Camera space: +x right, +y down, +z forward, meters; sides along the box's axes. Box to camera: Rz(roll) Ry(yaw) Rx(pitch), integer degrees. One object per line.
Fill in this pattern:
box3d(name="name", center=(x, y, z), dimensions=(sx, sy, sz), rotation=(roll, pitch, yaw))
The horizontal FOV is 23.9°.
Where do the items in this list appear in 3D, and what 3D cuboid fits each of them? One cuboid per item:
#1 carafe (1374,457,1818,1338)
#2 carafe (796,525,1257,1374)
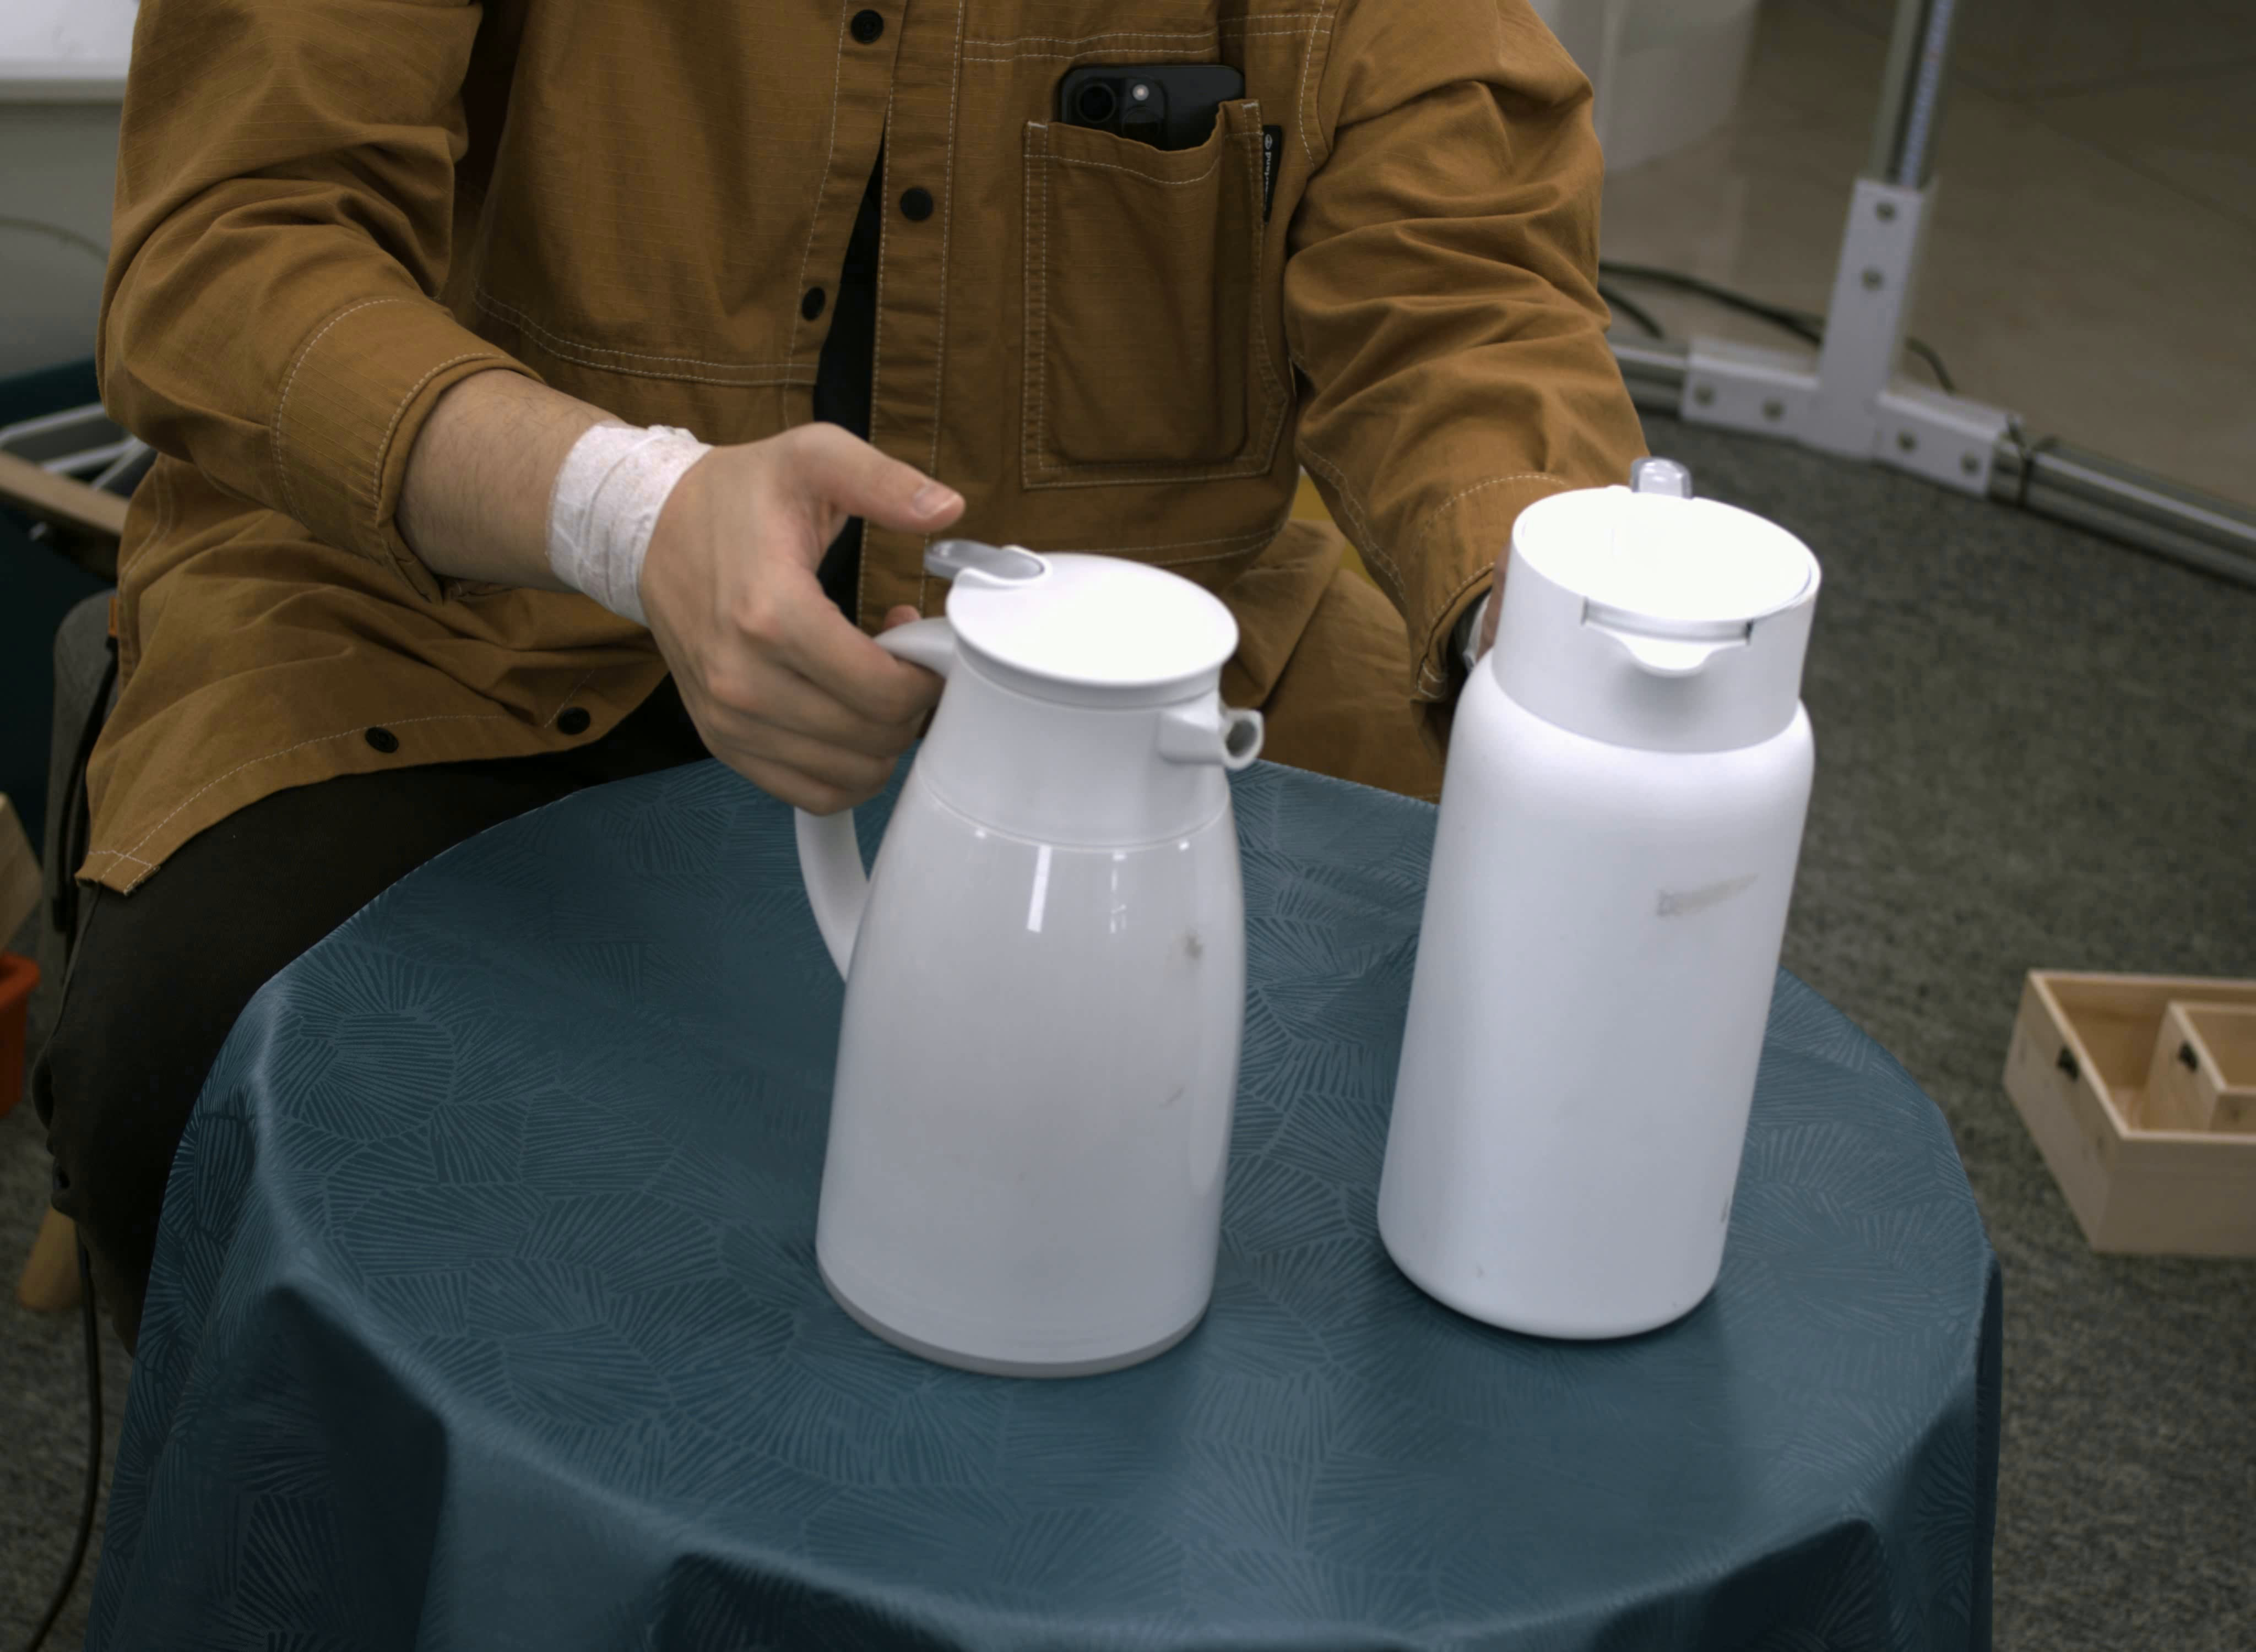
box3d(name="carafe", center=(0.154, 0.020, 1.750), dimensions=(0.123, 0.268, 0.174), rotation=(5, 26, 0))
box3d(name="carafe", center=(-0.040, 0.029, 1.706), dimensions=(0.169, 0.248, 0.132), rotation=(23, 30, 32))
